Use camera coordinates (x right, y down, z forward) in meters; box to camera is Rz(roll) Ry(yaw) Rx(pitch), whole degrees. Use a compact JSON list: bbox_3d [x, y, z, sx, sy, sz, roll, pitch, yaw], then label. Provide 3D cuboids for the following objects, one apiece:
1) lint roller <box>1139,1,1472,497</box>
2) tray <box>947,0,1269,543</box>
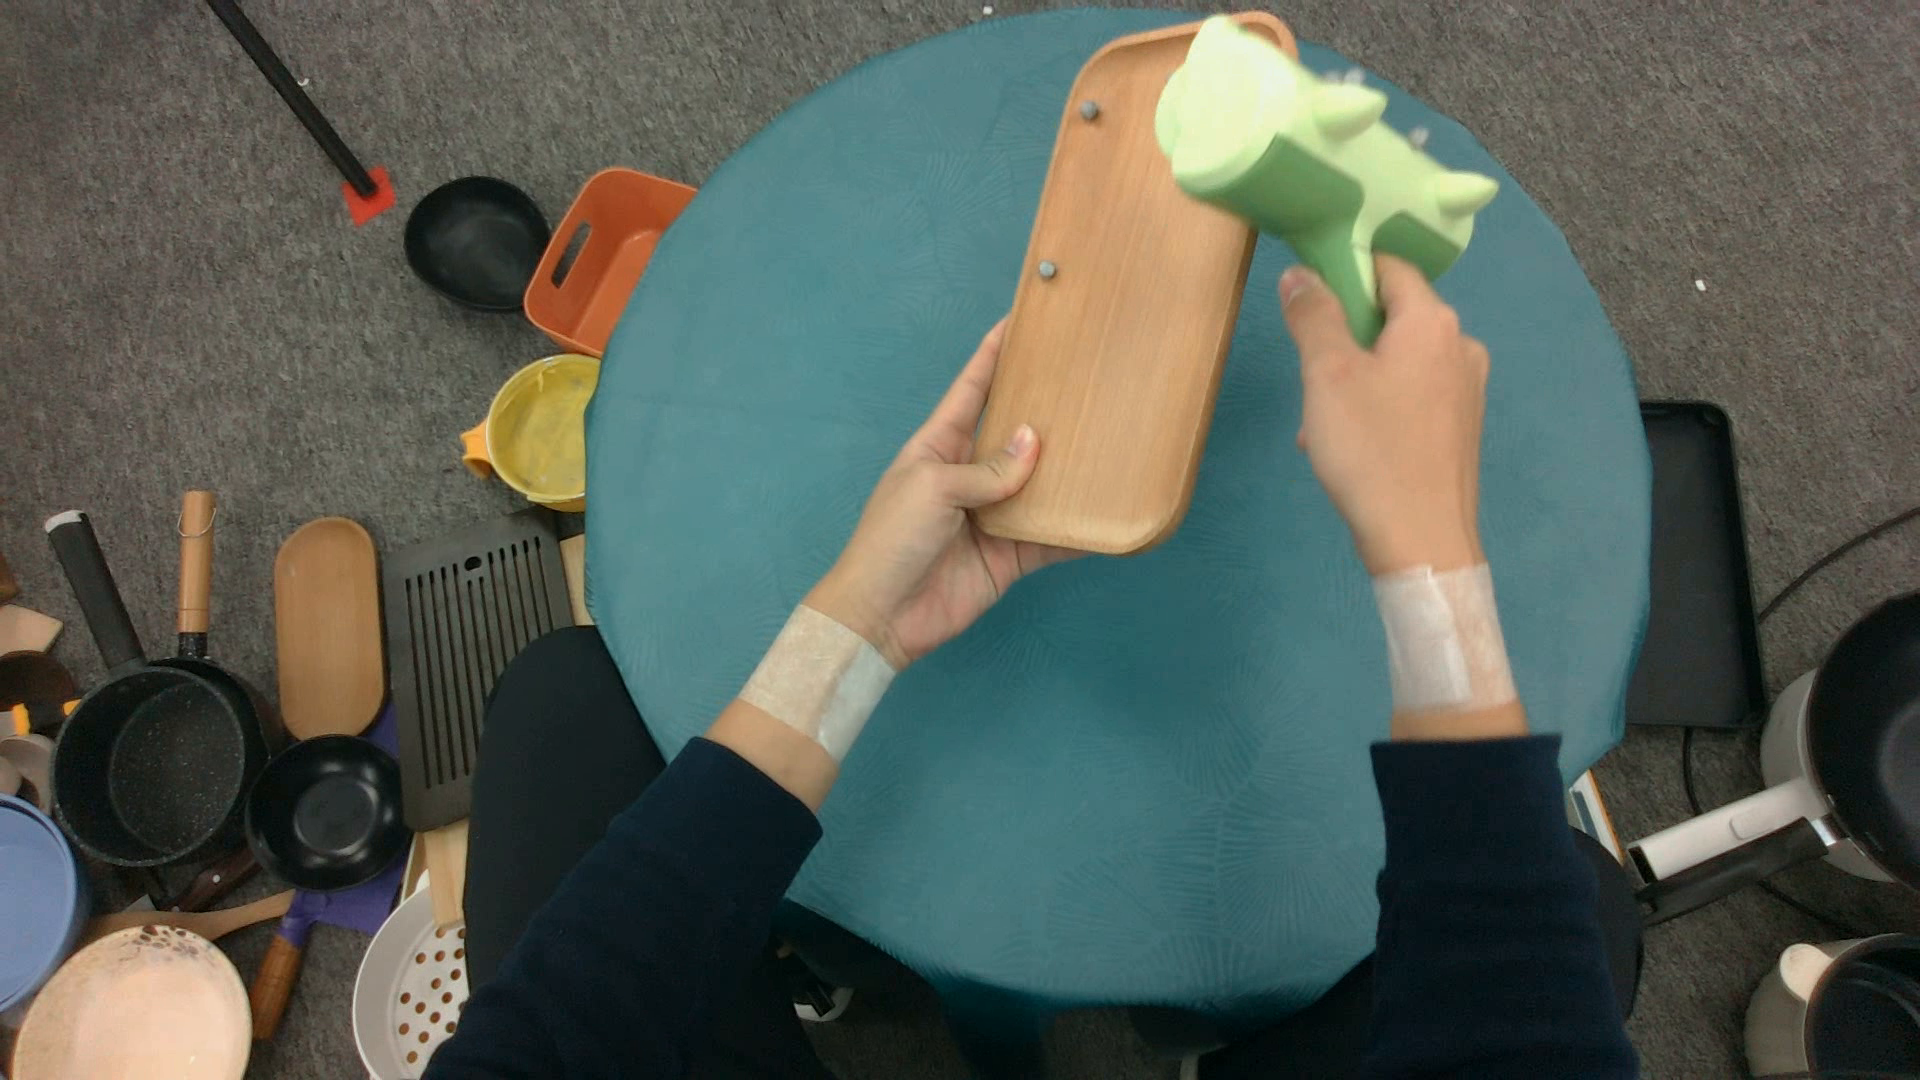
[{"bbox_3d":[0.167,-0.114,0.559,0.082,0.199,0.183,-30,69,35],"label":"lint roller"},{"bbox_3d":[0.066,-0.122,0.630,0.130,0.023,0.251,7,81,46],"label":"tray"}]
